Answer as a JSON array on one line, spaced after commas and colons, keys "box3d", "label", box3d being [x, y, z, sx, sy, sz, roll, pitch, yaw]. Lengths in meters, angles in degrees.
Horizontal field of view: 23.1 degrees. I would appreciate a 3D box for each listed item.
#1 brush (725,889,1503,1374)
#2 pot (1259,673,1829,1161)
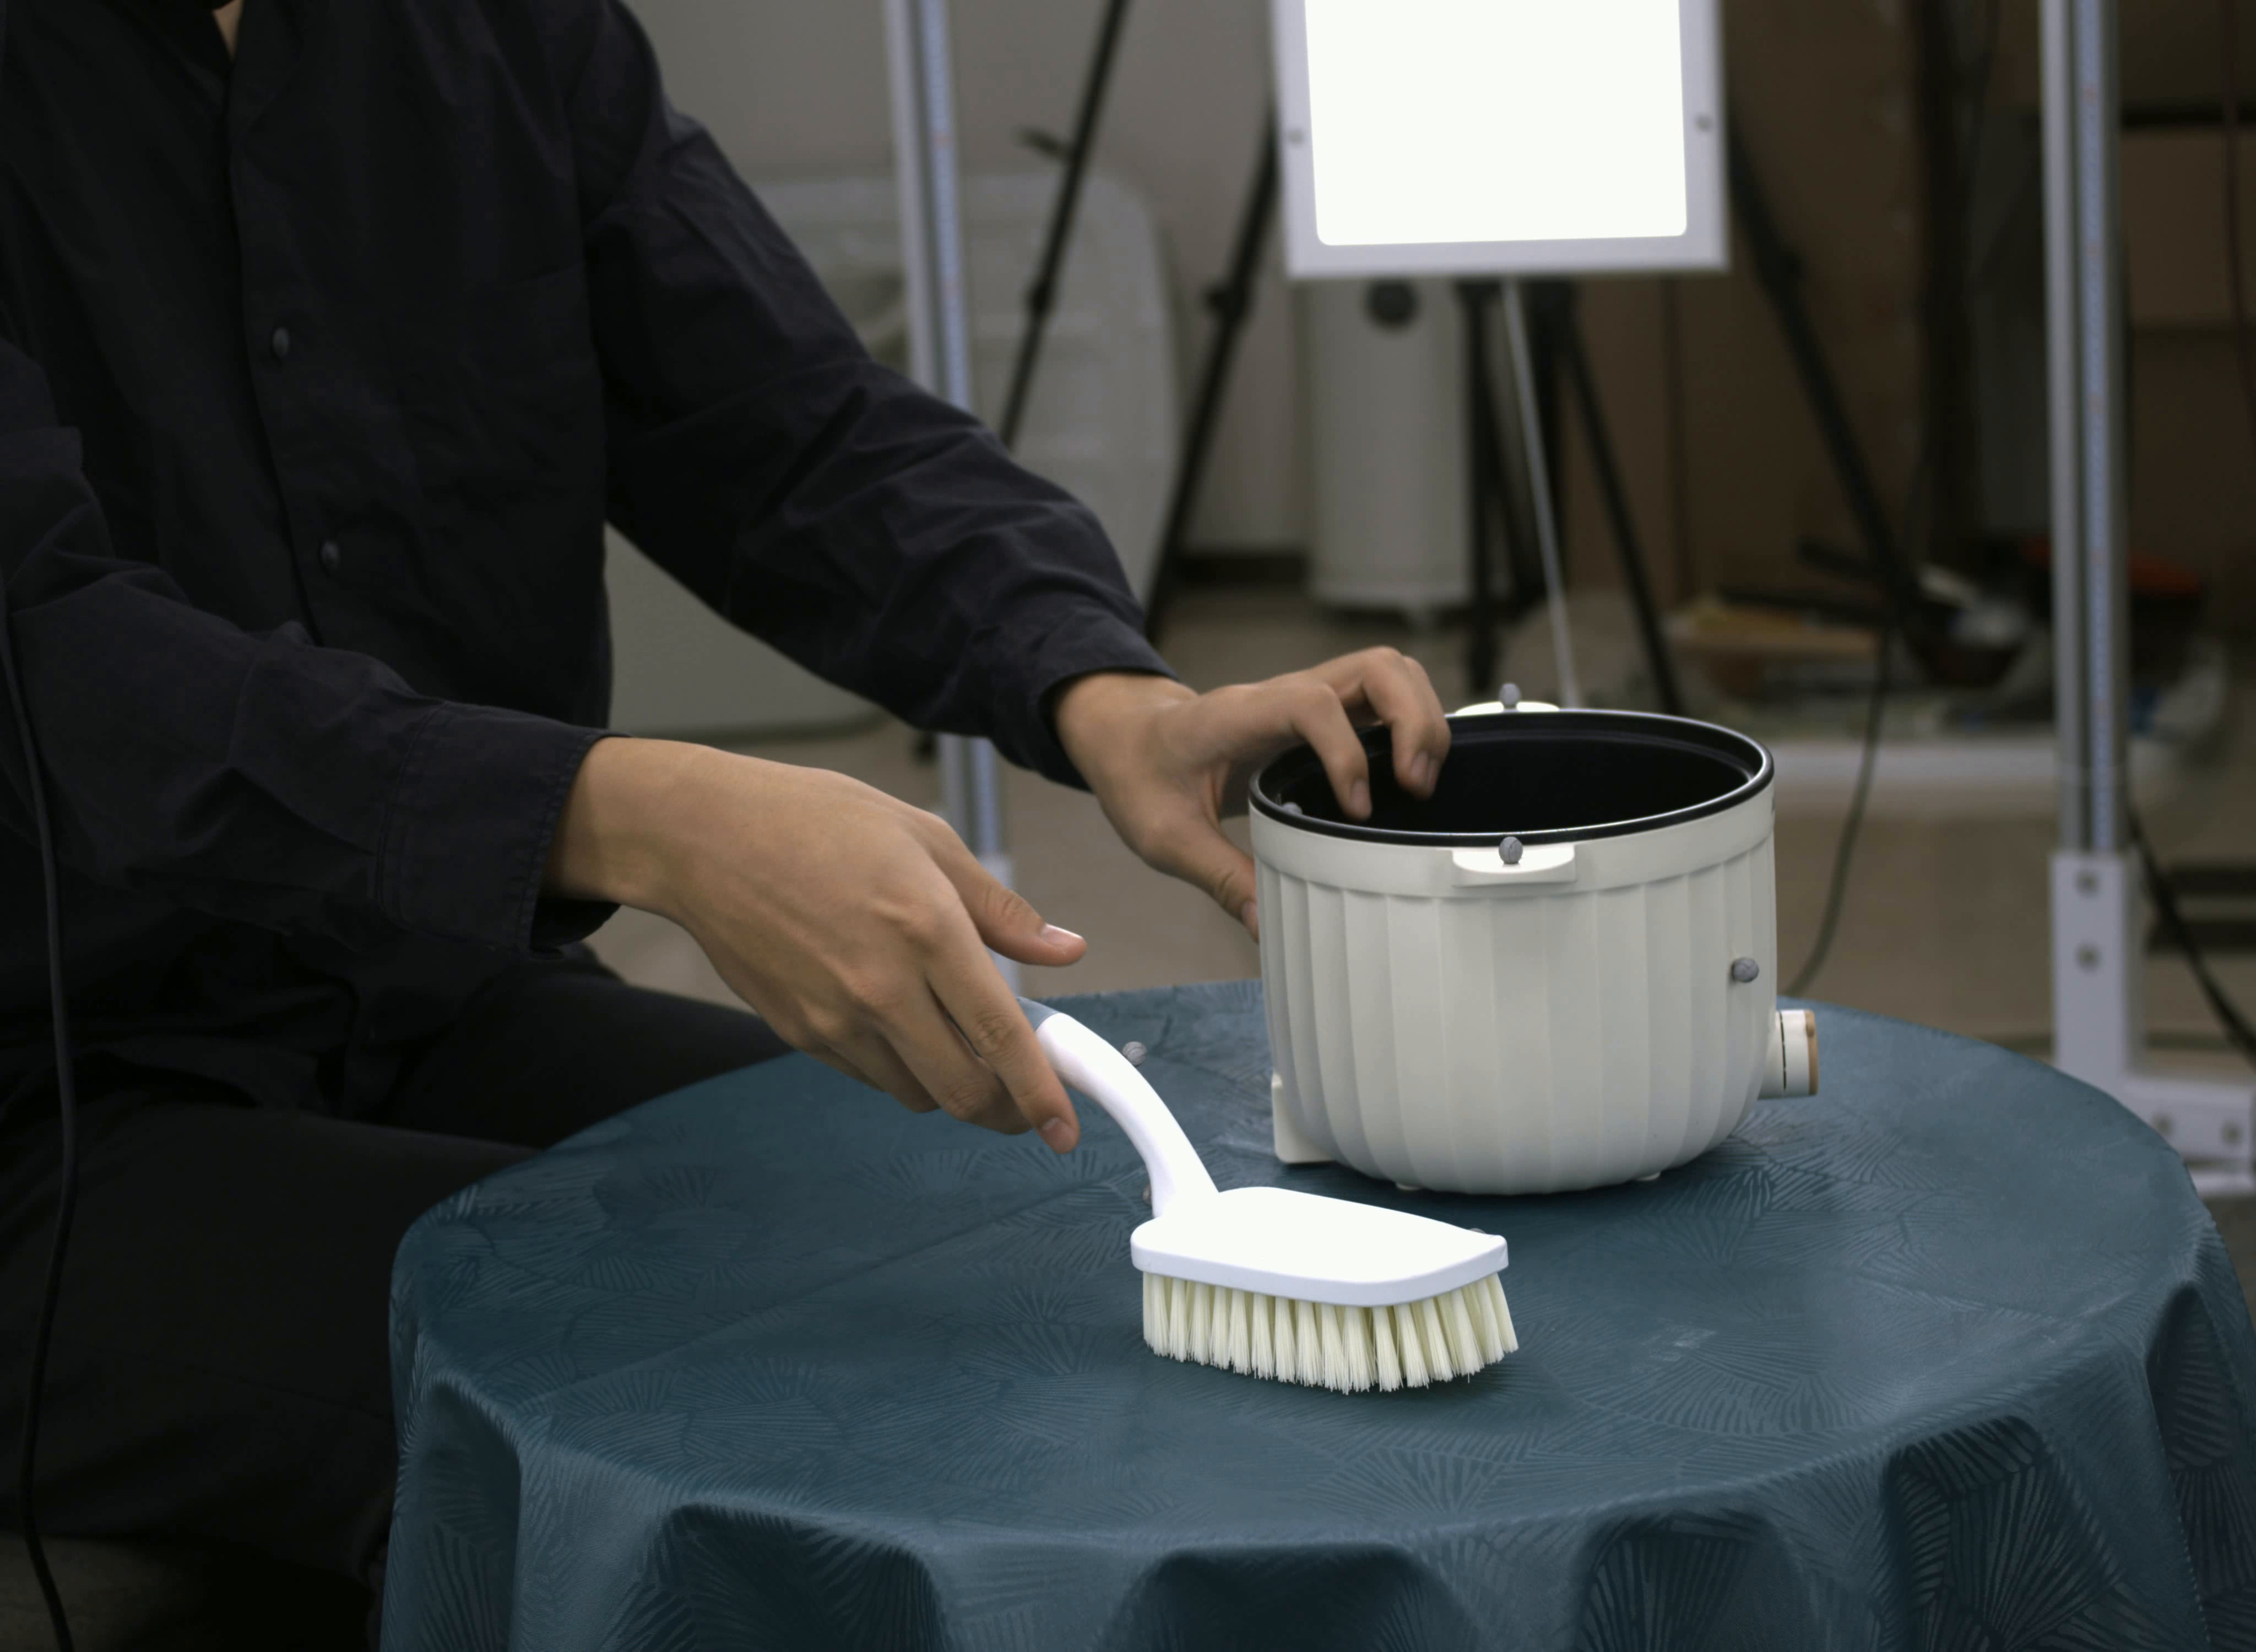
[{"box3d": [-0.010, 0.111, 1.781, 0.331, 0.084, 0.081, 22, -9, 37], "label": "brush"}, {"box3d": [0.145, 0.033, 1.908, 0.191, 0.143, 0.239, -6, 15, 5], "label": "pot"}]
